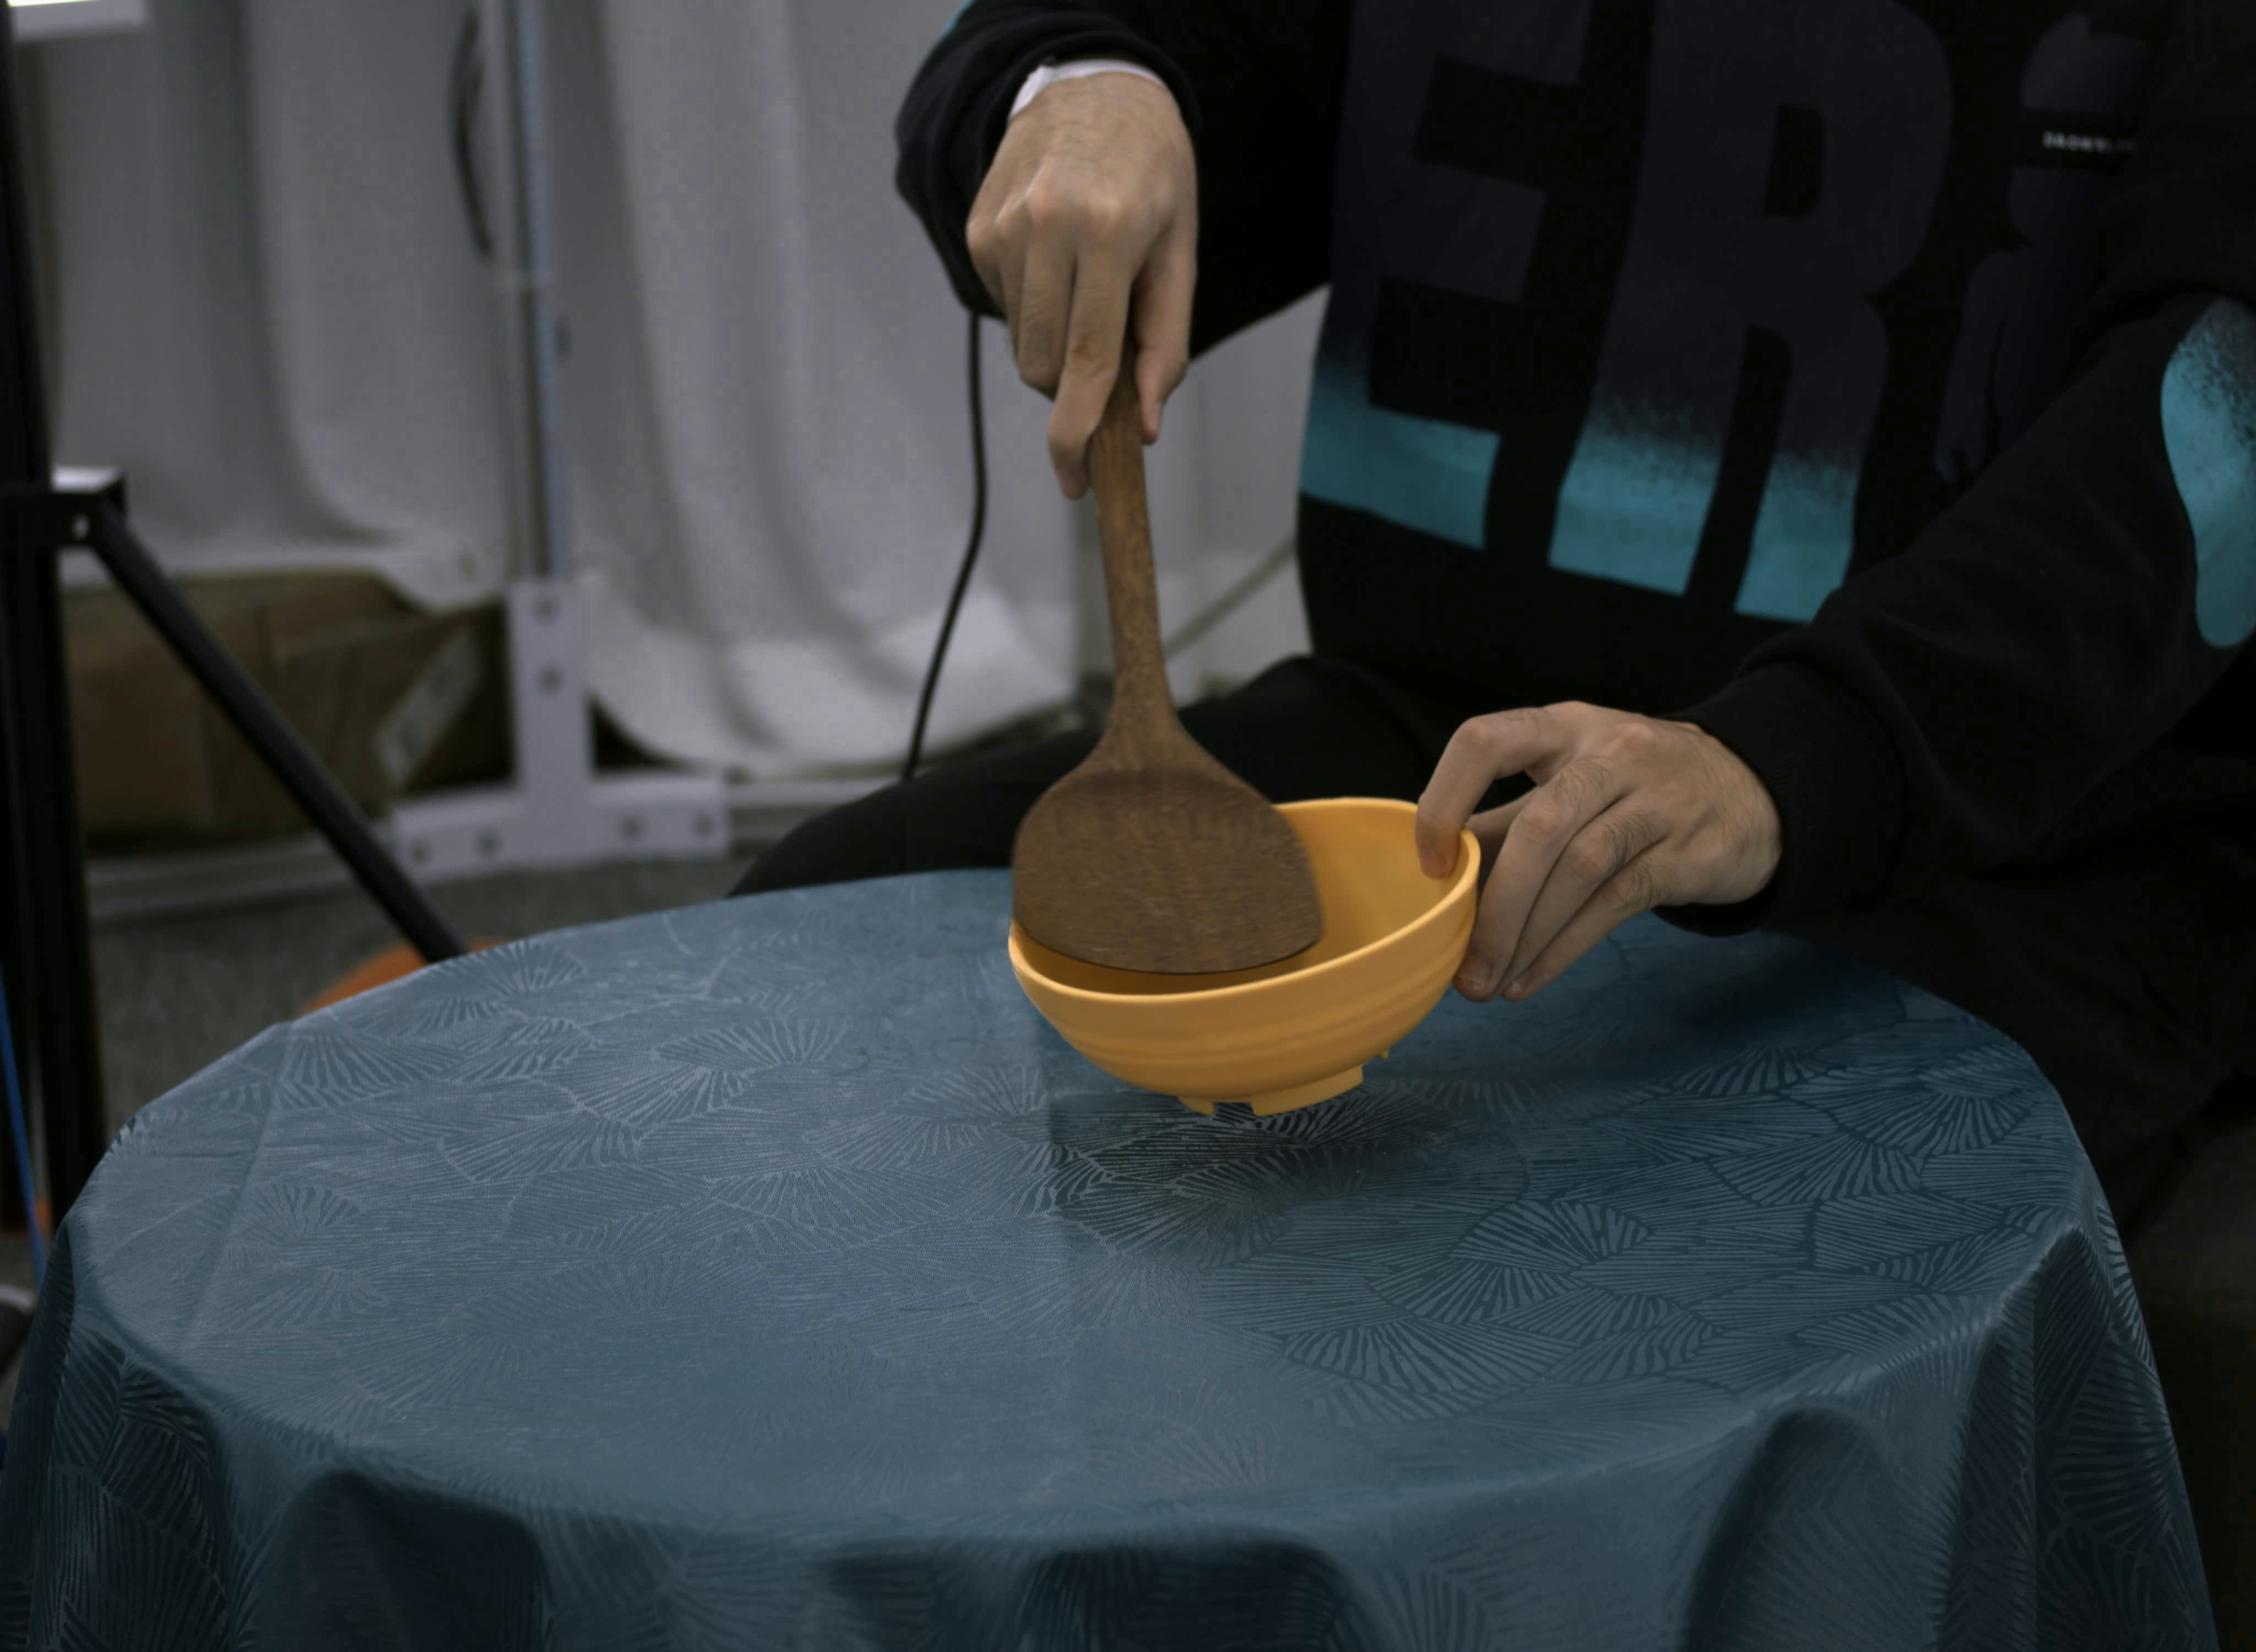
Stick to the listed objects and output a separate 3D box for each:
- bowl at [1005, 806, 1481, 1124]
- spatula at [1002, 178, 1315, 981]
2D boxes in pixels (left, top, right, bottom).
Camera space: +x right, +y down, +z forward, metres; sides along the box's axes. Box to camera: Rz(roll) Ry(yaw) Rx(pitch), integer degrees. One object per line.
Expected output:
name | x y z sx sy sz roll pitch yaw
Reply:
bowl | 0.039 0.049 1.598 0.145 0.060 0.146 -10 21 2
spatula | -0.003 -0.090 1.725 0.095 0.016 0.391 0 45 -6
